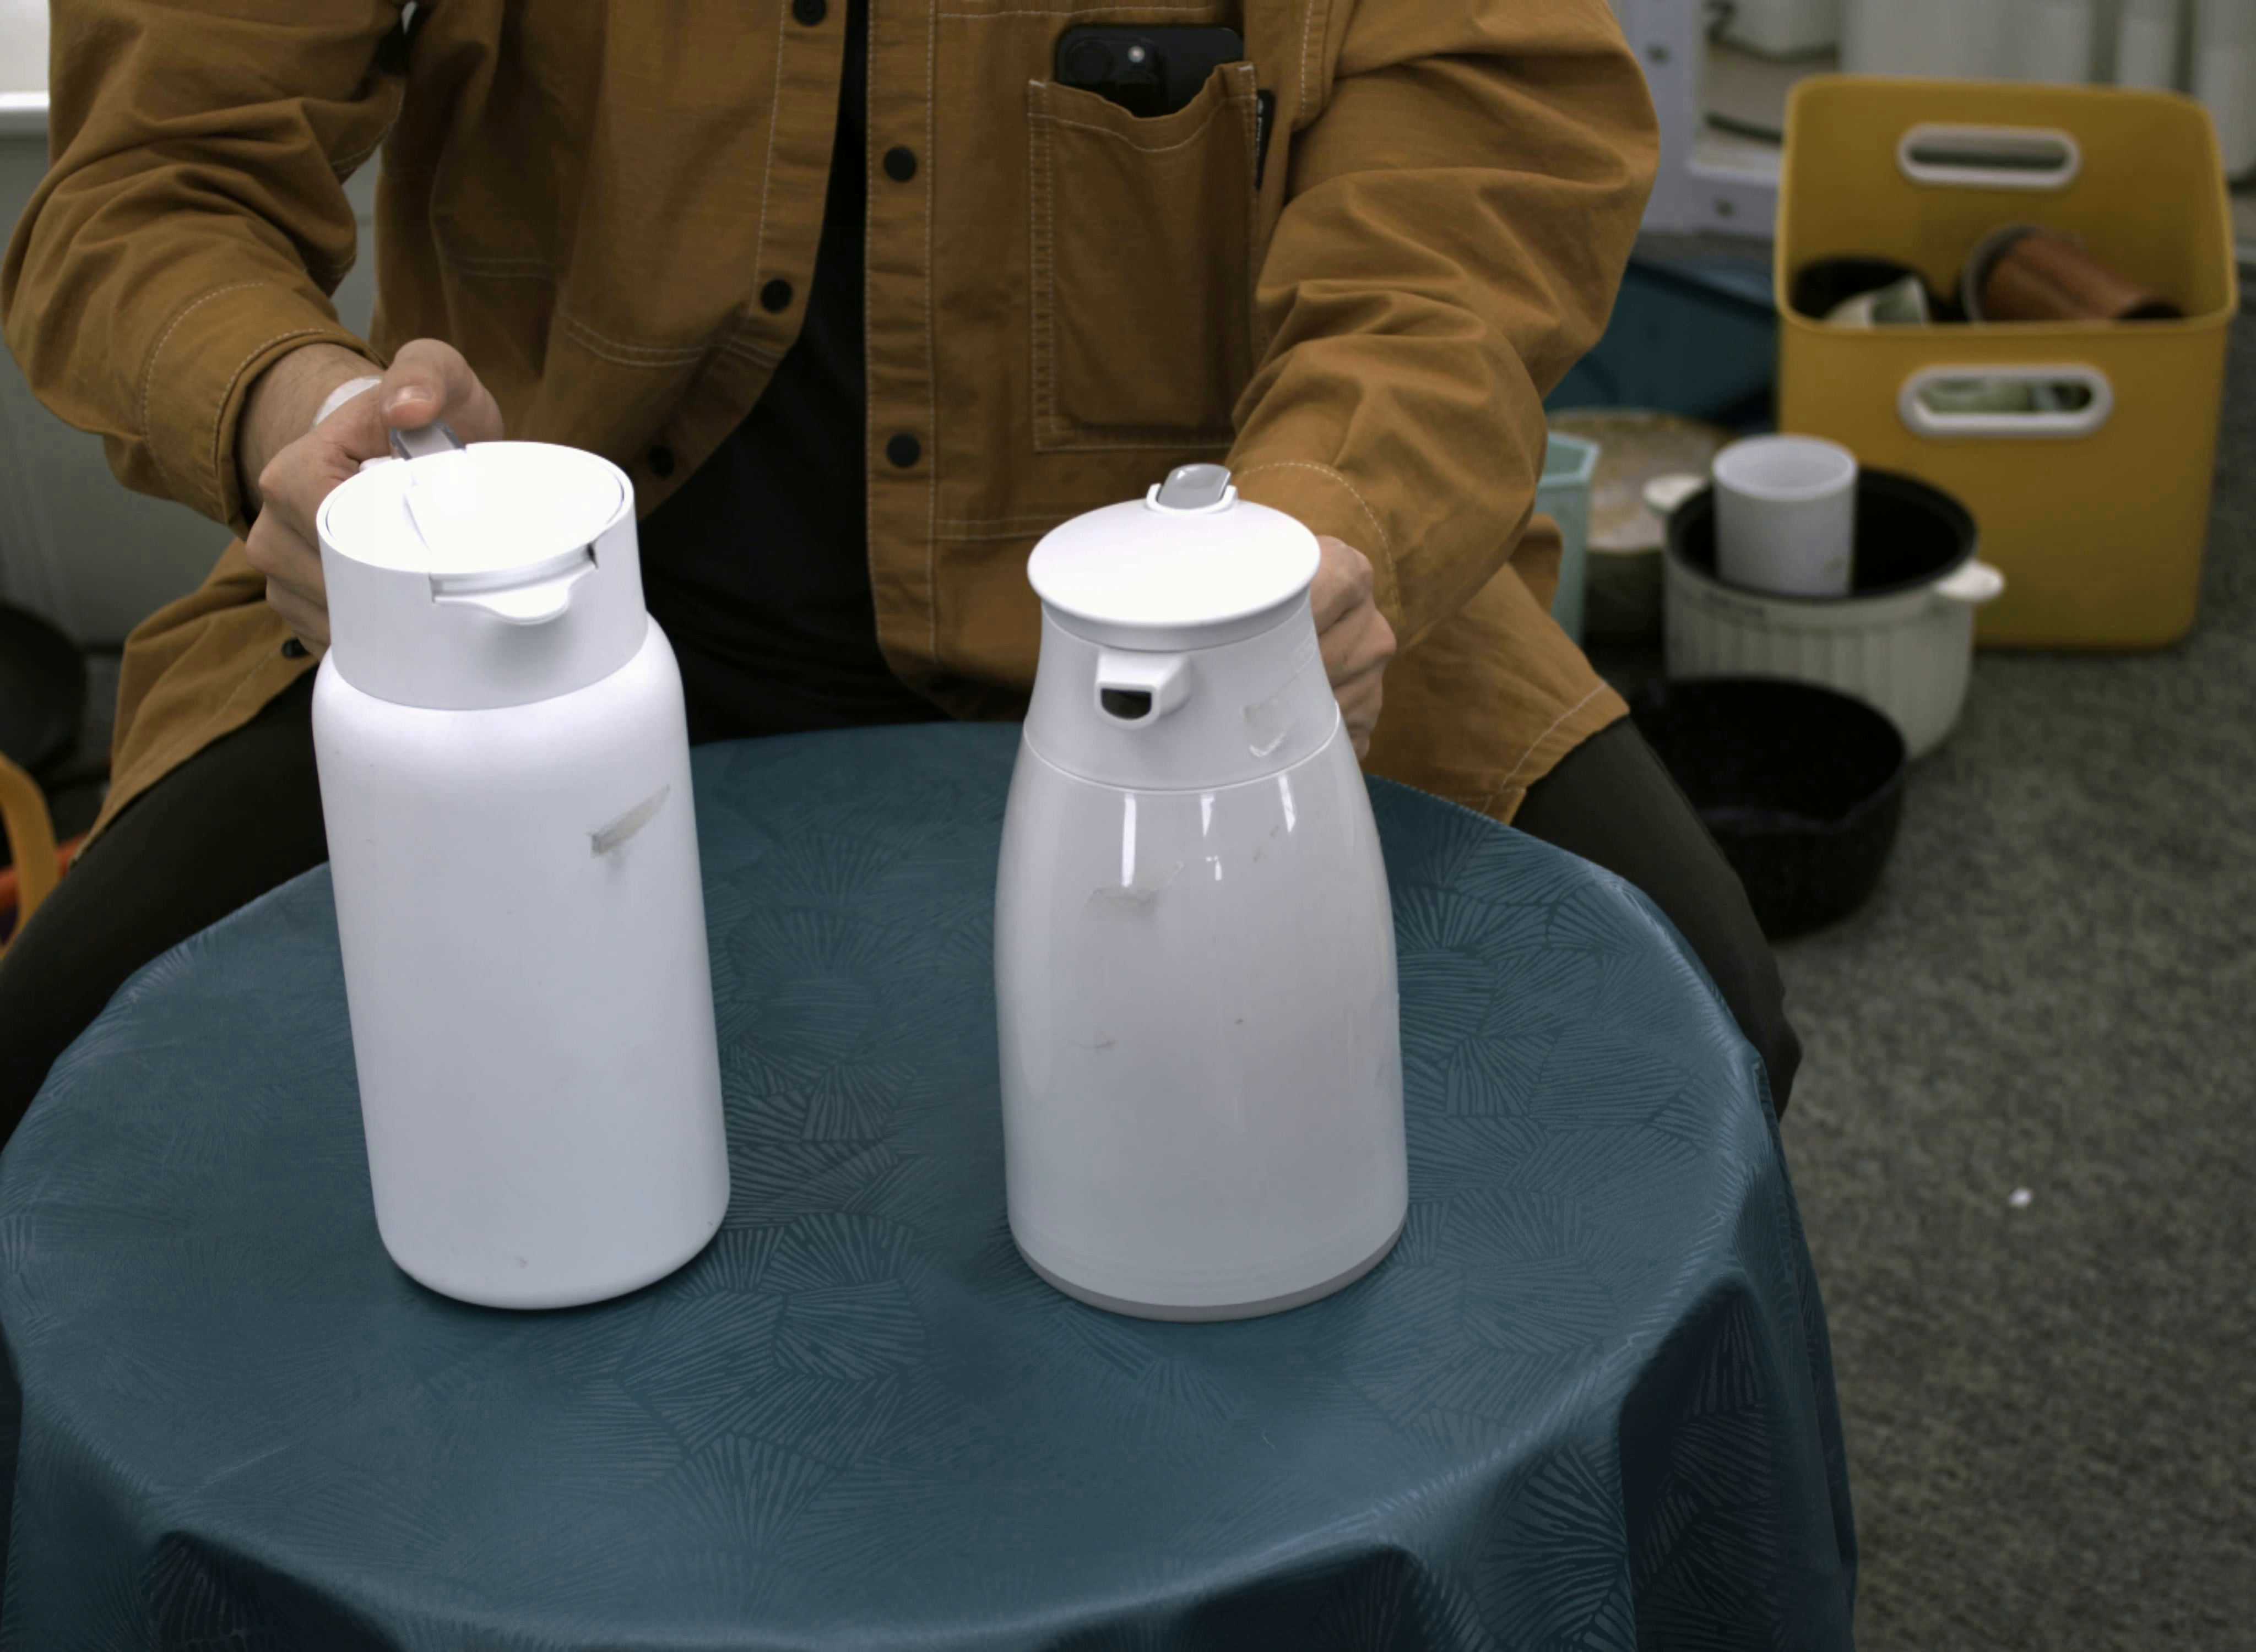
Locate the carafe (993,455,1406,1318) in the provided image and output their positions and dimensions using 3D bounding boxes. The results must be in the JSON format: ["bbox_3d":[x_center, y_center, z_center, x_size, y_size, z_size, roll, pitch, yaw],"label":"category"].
[{"bbox_3d":[0.024,0.008,1.807,0.131,0.246,0.170,4,26,13],"label":"carafe"}]

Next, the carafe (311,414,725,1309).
[{"bbox_3d":[-0.204,0.008,1.811,0.124,0.266,0.174,-15,28,-18],"label":"carafe"}]
